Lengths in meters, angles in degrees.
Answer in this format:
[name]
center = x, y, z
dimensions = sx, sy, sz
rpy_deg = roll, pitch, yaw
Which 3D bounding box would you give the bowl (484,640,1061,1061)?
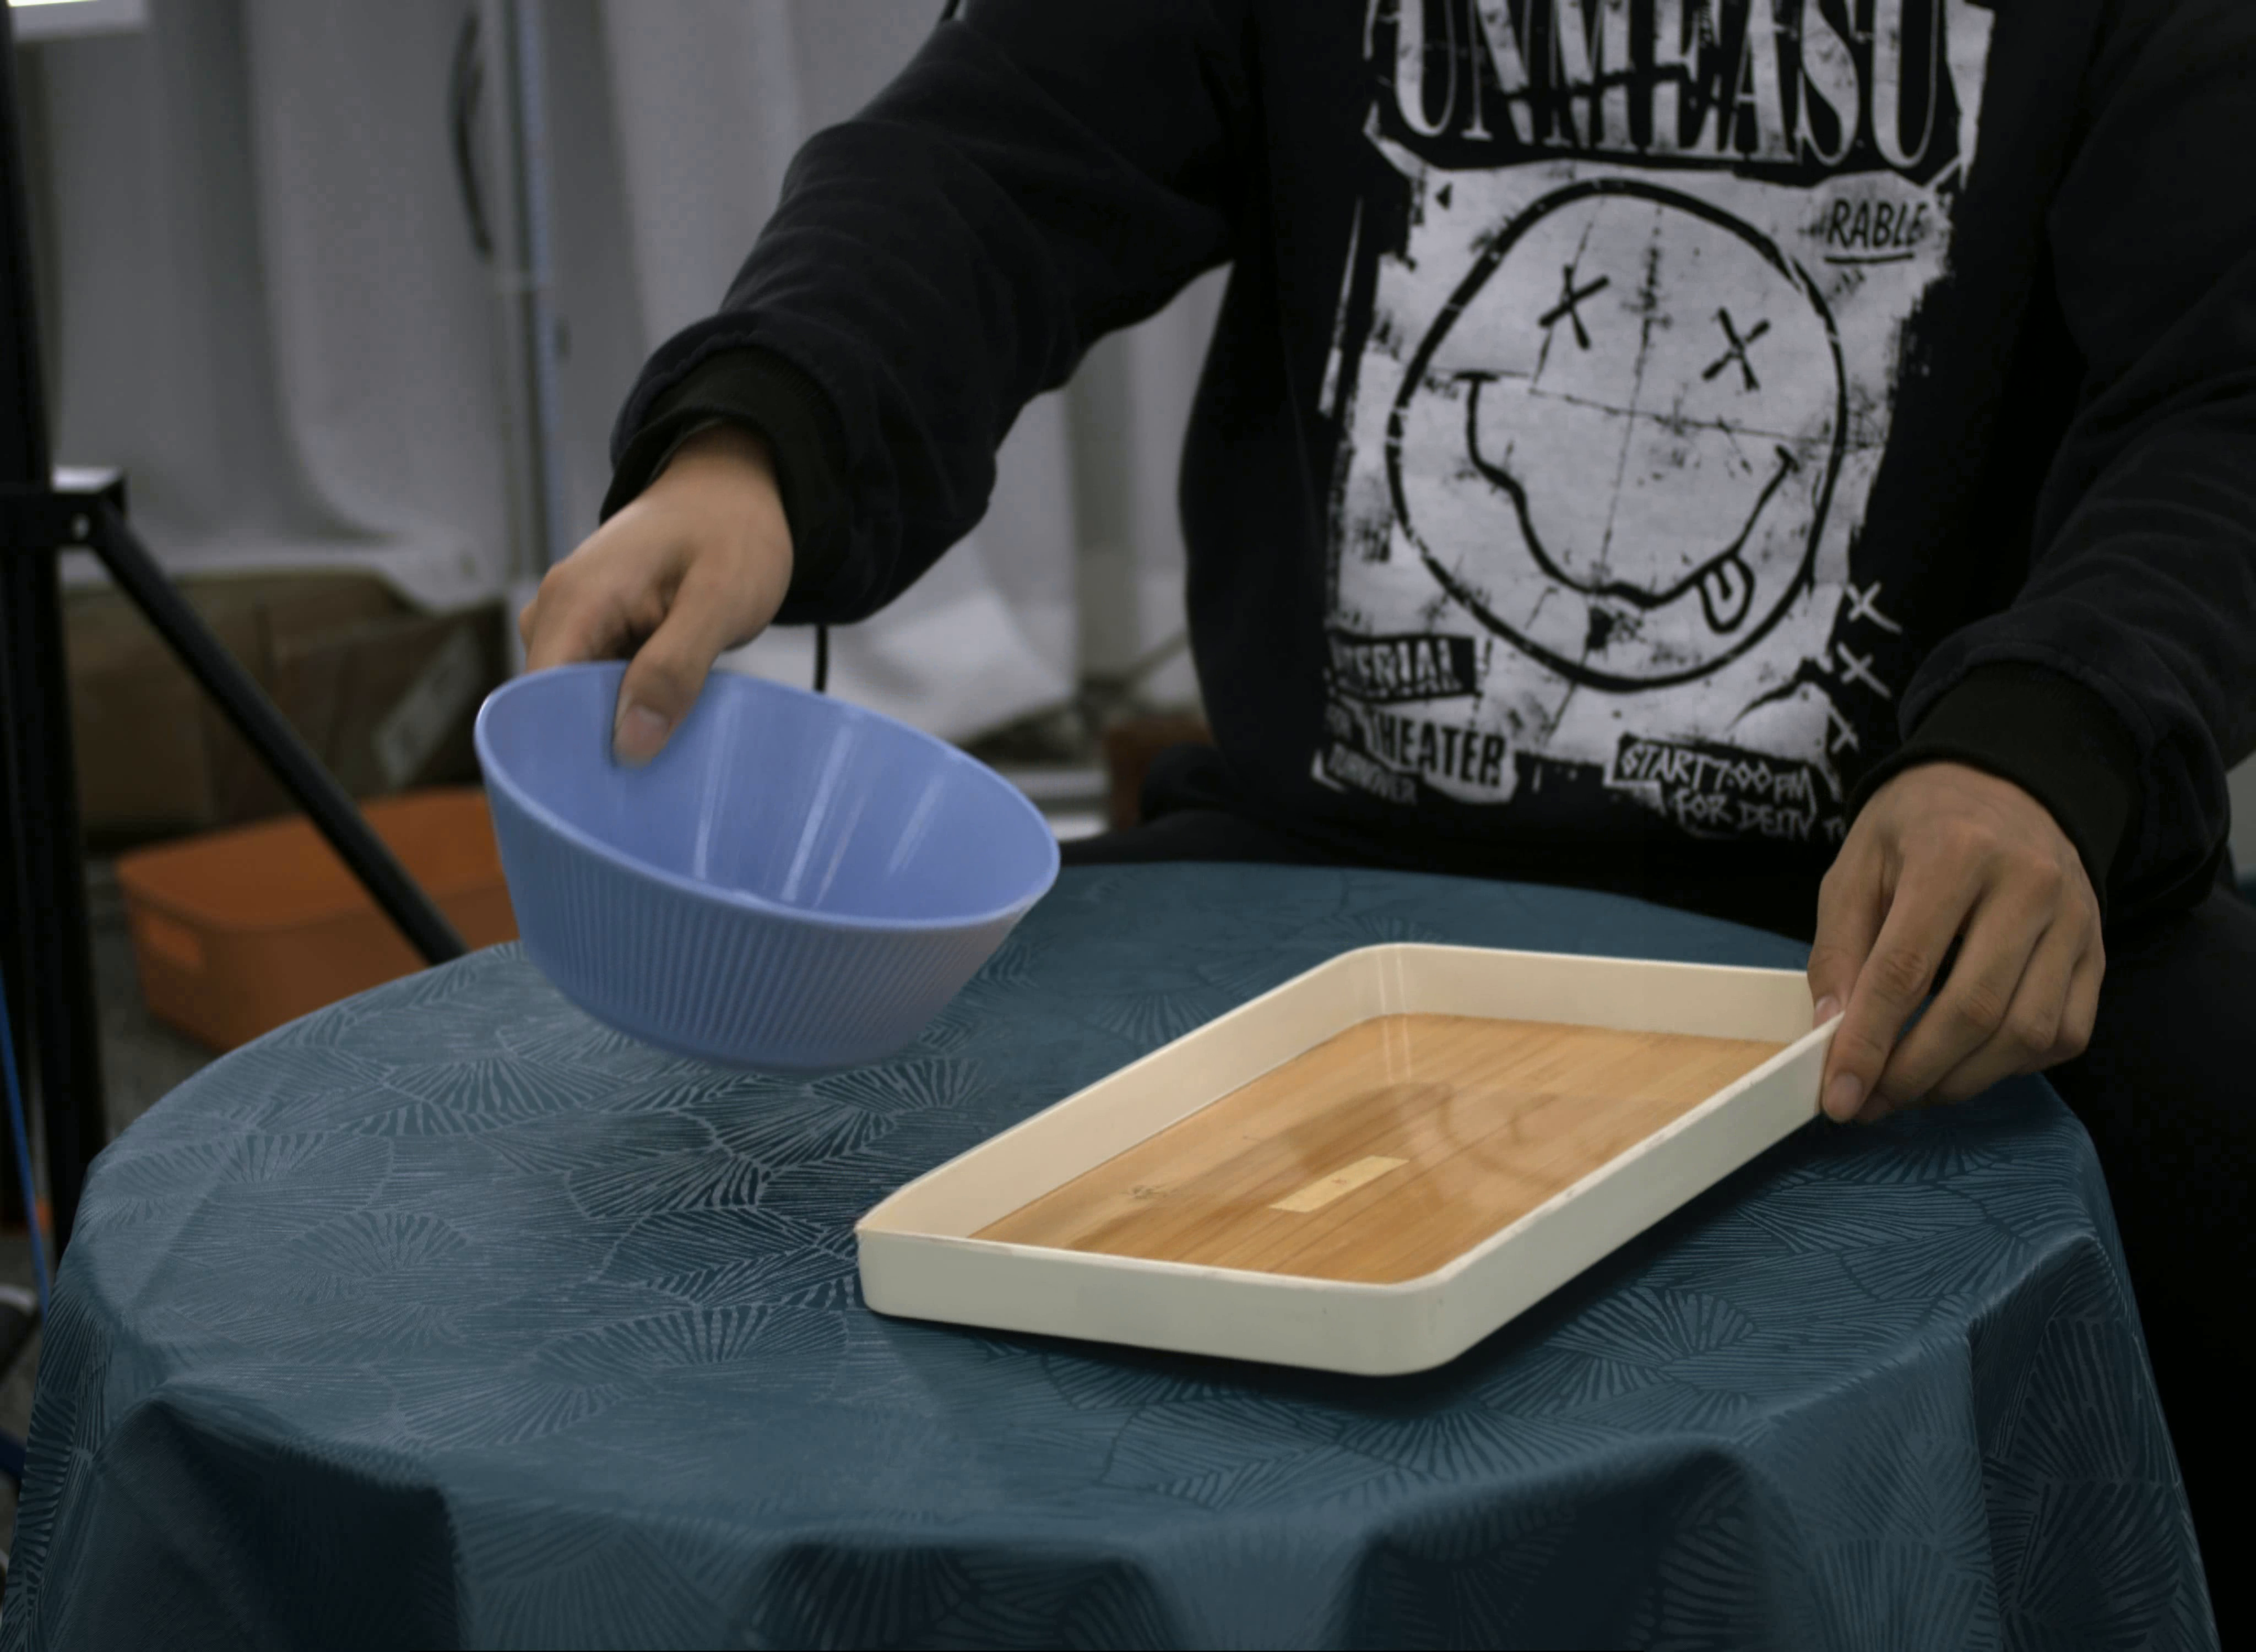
[bowl]
center = -0.112, 0.013, 1.563
dimensions = 0.174, 0.070, 0.177
rpy_deg = 15, 21, -7

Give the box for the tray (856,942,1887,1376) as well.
[tray]
center = 0.077, 0.091, 1.533
dimensions = 0.195, 0.027, 0.294
rpy_deg = 3, 17, 34
